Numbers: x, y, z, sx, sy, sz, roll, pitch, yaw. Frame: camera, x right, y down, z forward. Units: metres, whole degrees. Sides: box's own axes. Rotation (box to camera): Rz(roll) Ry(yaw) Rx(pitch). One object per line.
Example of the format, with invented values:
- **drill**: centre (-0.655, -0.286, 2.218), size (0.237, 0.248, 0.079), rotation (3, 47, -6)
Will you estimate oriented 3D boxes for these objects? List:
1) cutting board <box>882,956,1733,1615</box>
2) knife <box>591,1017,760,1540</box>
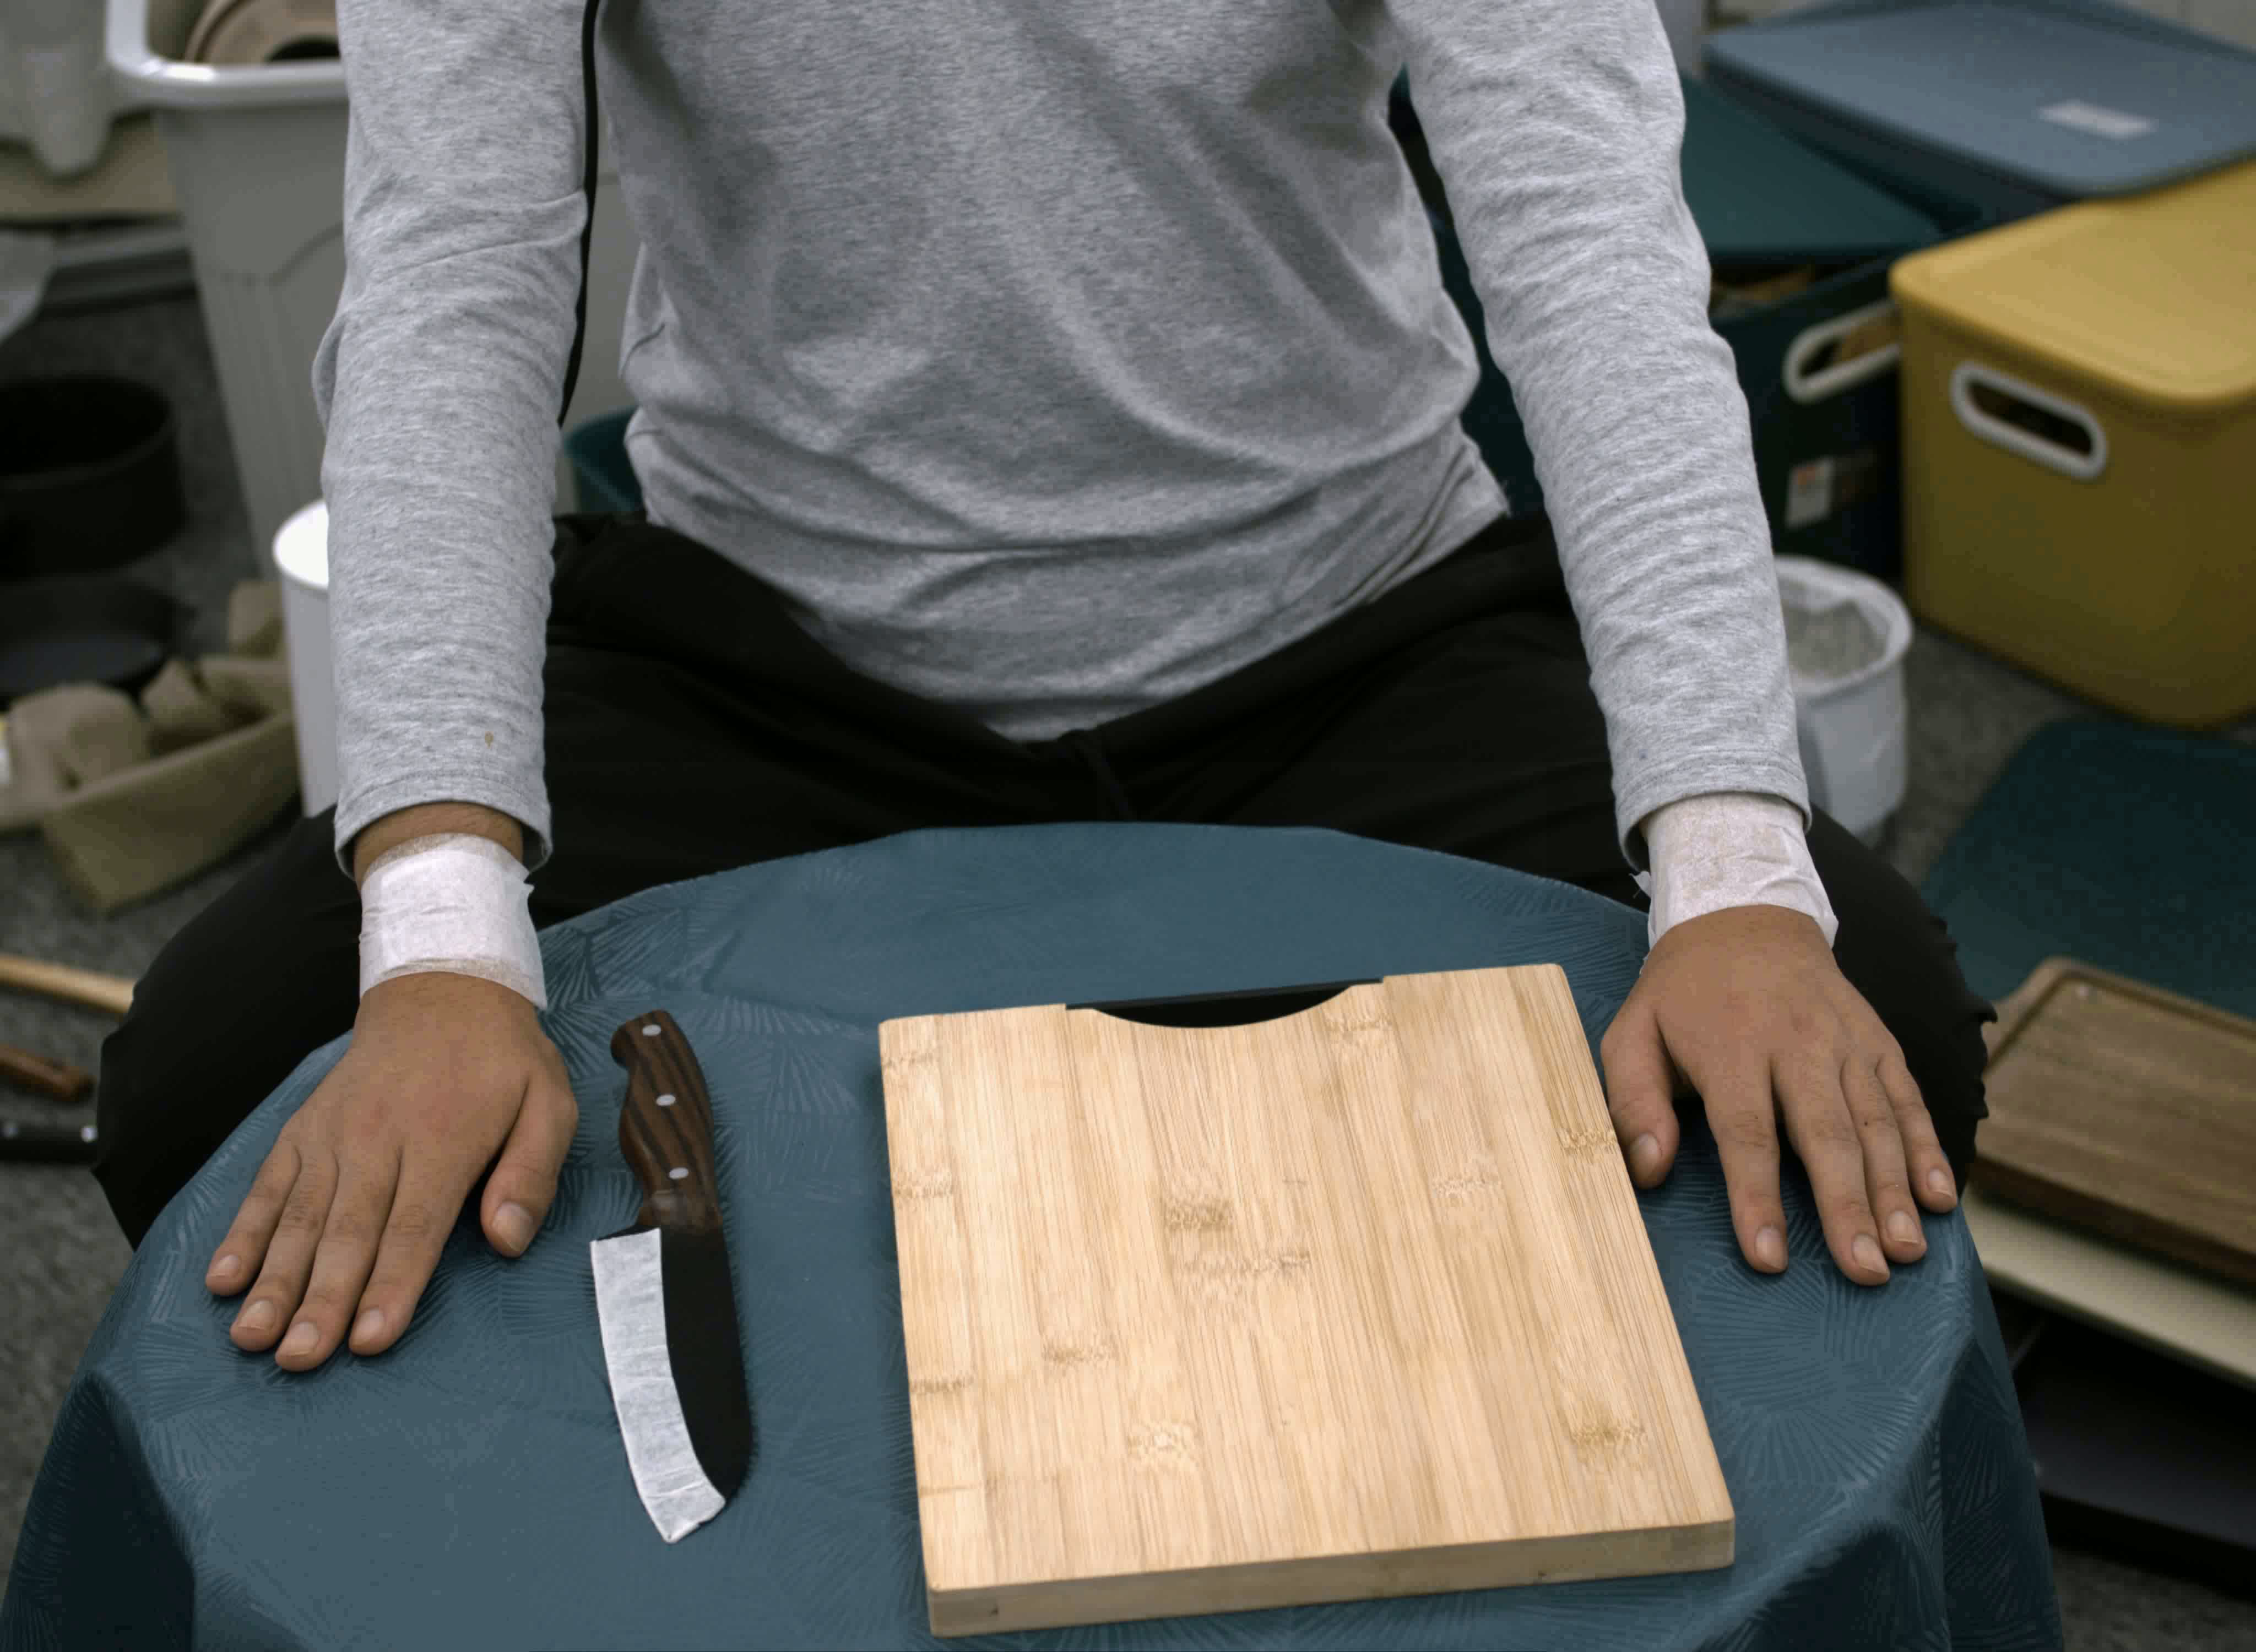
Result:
- **cutting board**: centre (0.047, 0.141, 1.802), size (0.250, 0.023, 0.353), rotation (-4, 27, -4)
- **knife**: centre (-0.149, 0.144, 1.816), size (0.050, 0.020, 0.293), rotation (-9, 30, -2)
